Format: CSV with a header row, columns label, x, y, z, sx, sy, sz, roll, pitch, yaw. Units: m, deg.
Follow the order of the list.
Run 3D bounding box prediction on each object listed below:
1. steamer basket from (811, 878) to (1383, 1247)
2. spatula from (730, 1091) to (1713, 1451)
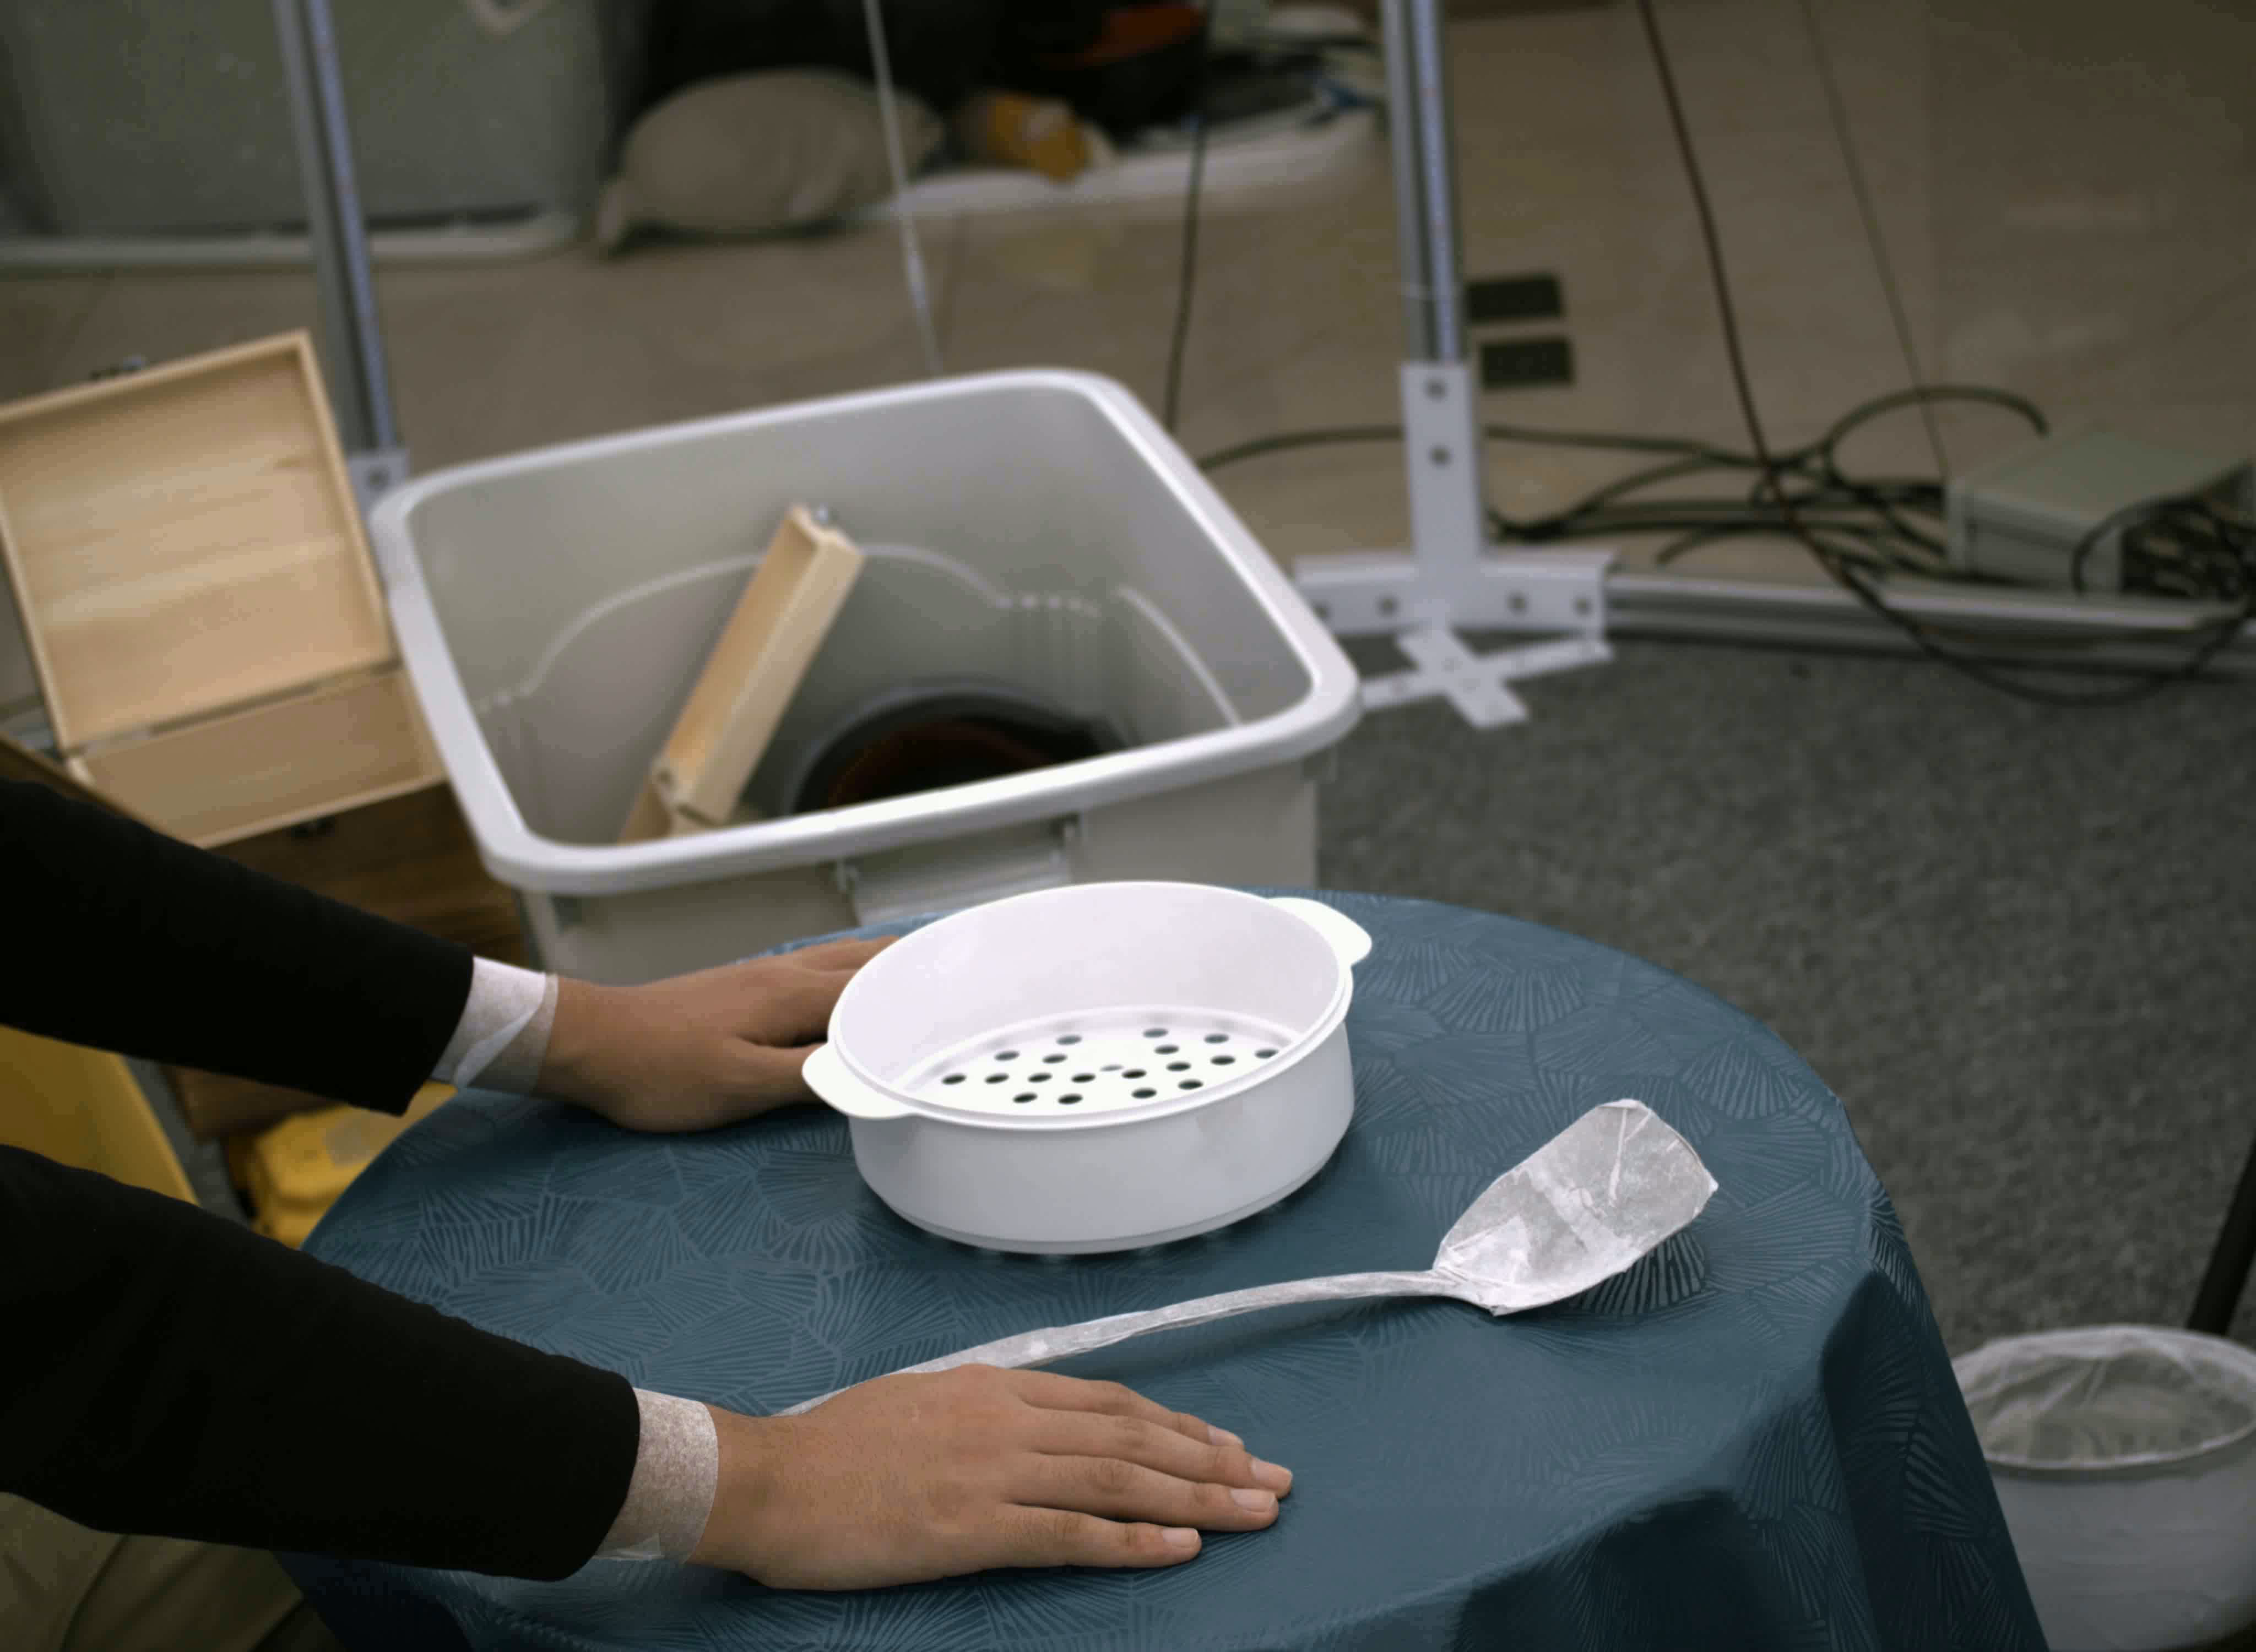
label,x,y,z,sx,sy,sz,roll,pitch,yaw
steamer basket,-0.007,0.091,2.169,0.229,0.070,0.199,-18,26,-22
spatula,0.033,0.168,2.033,0.364,0.045,0.097,-12,27,-11
